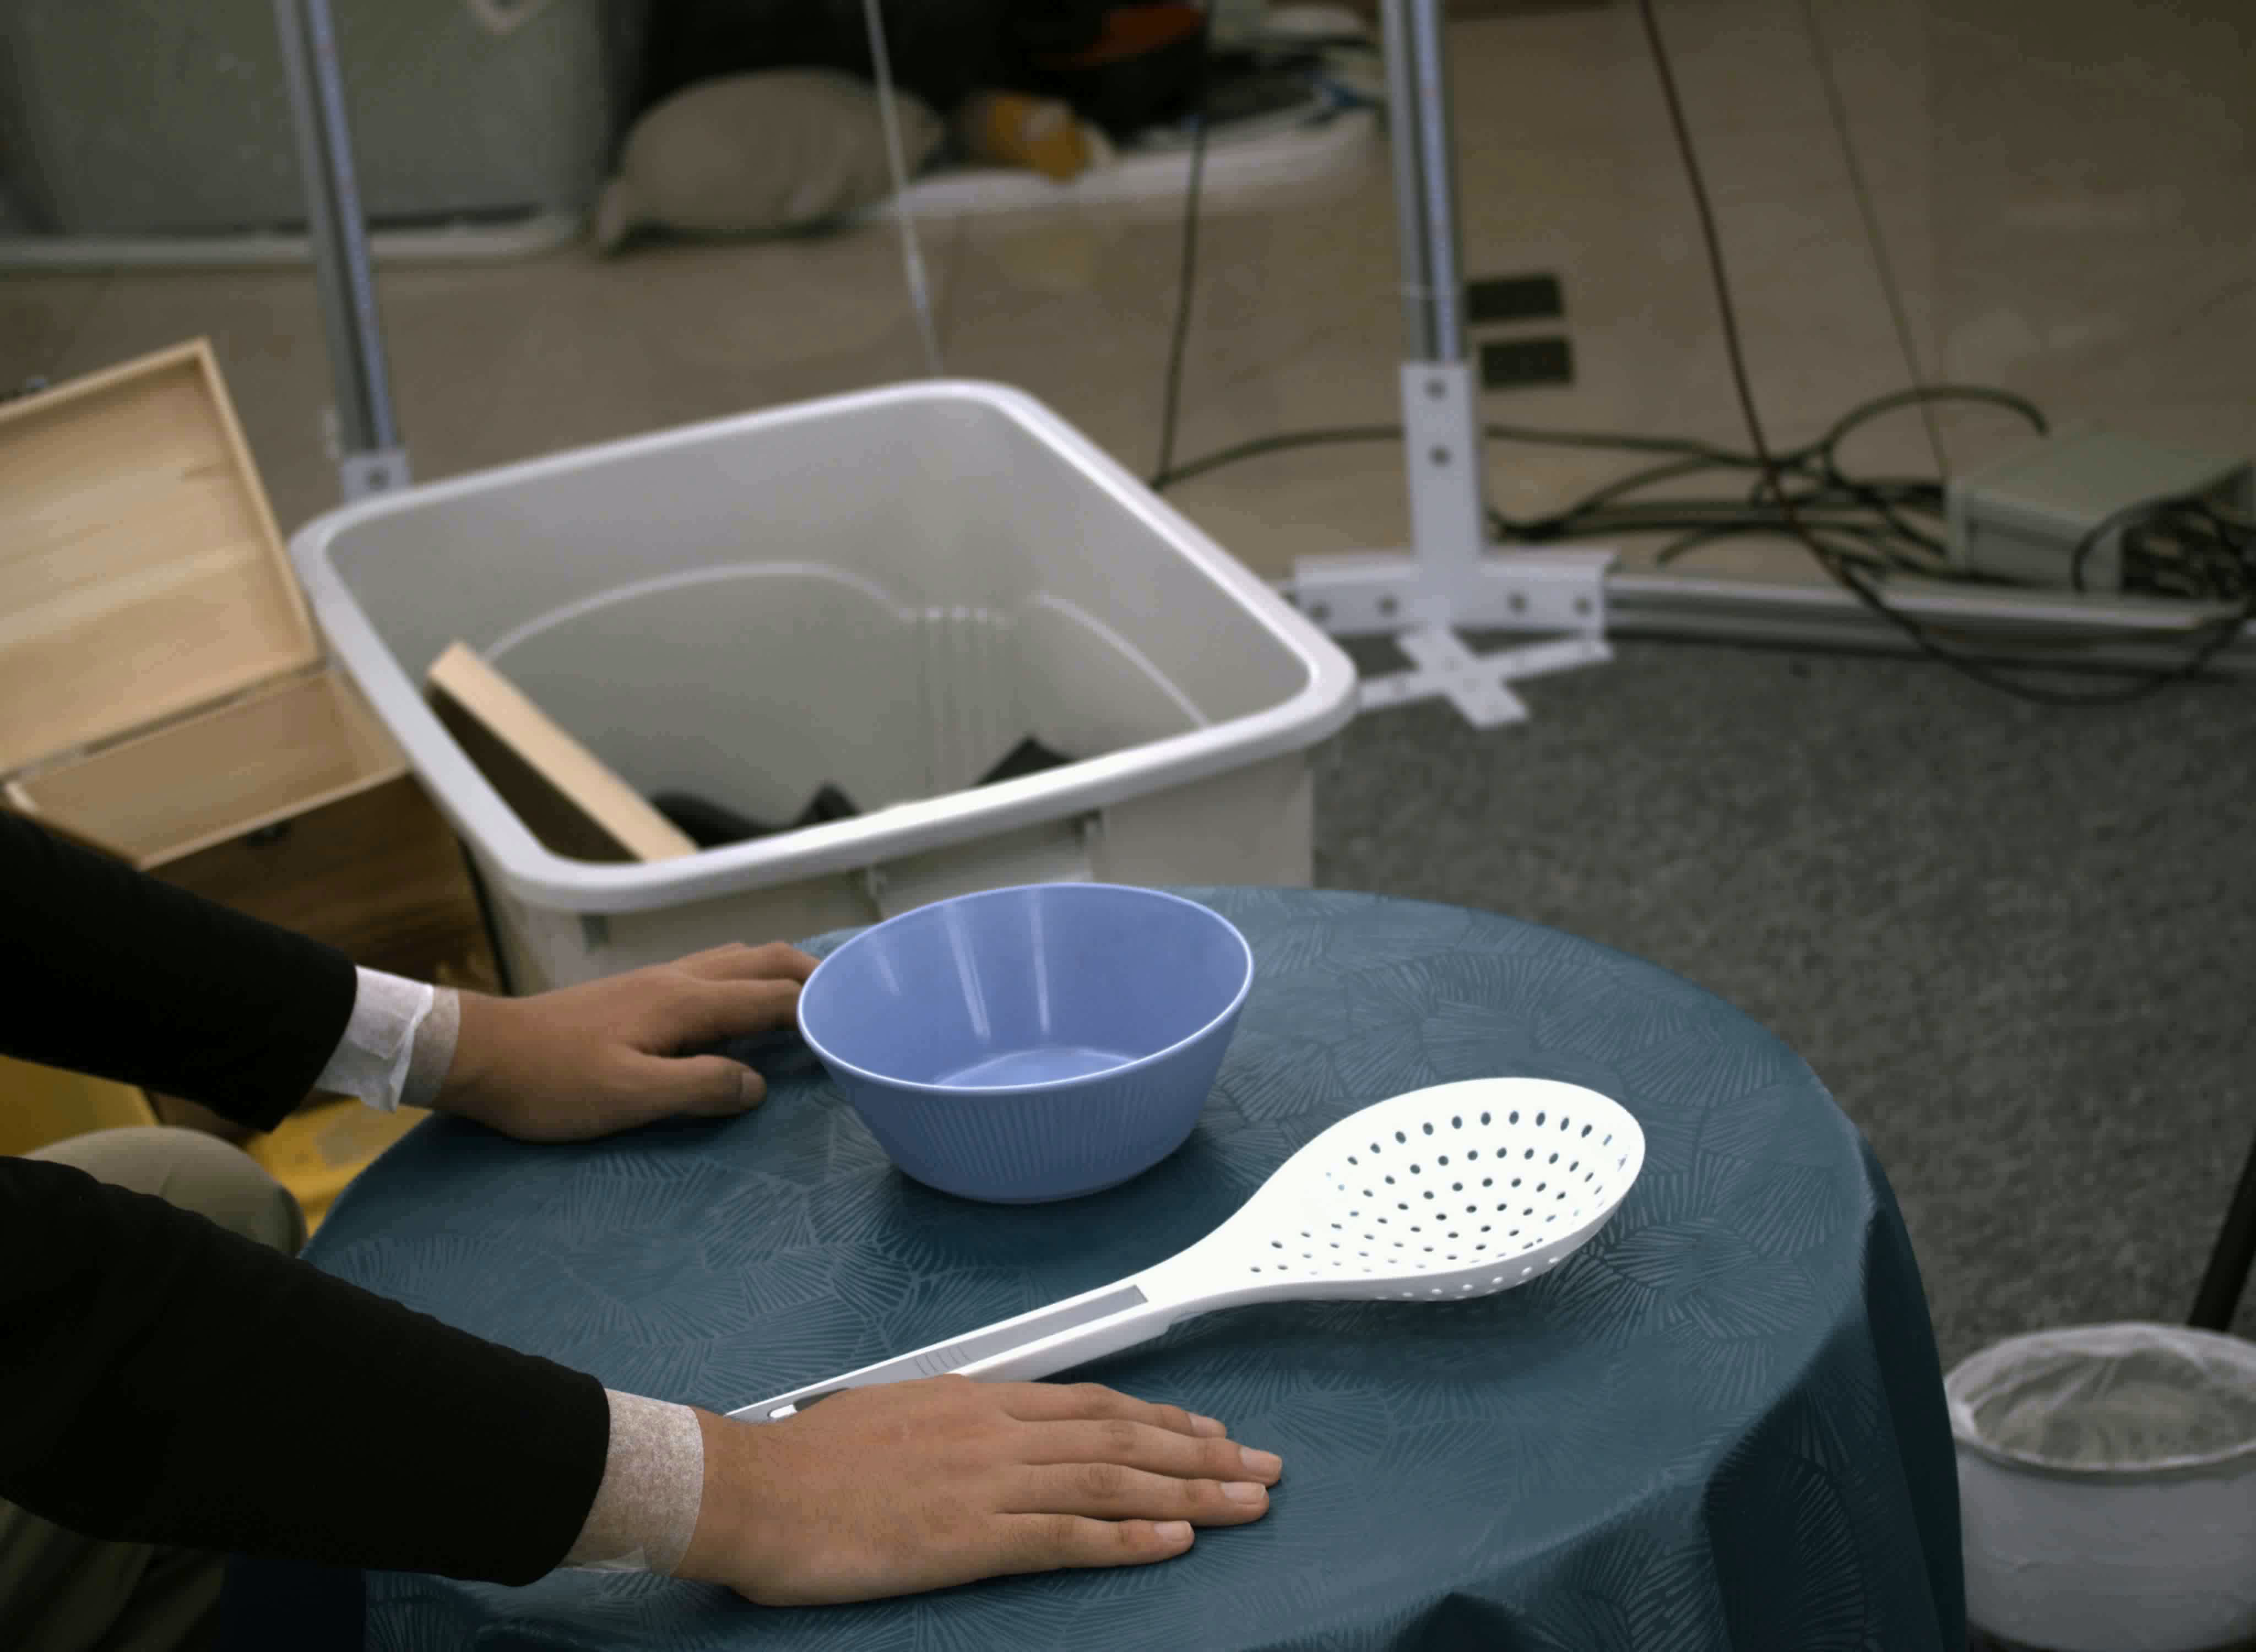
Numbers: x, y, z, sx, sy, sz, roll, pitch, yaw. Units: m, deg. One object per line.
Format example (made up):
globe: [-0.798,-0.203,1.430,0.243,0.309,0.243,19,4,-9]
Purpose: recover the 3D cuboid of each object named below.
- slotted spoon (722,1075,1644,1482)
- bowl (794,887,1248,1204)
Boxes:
slotted spoon: [0.021,0.166,2.030,0.348,0.046,0.134,-15,26,-15]
bowl: [-0.037,0.090,2.180,0.176,0.071,0.173,-6,25,3]
